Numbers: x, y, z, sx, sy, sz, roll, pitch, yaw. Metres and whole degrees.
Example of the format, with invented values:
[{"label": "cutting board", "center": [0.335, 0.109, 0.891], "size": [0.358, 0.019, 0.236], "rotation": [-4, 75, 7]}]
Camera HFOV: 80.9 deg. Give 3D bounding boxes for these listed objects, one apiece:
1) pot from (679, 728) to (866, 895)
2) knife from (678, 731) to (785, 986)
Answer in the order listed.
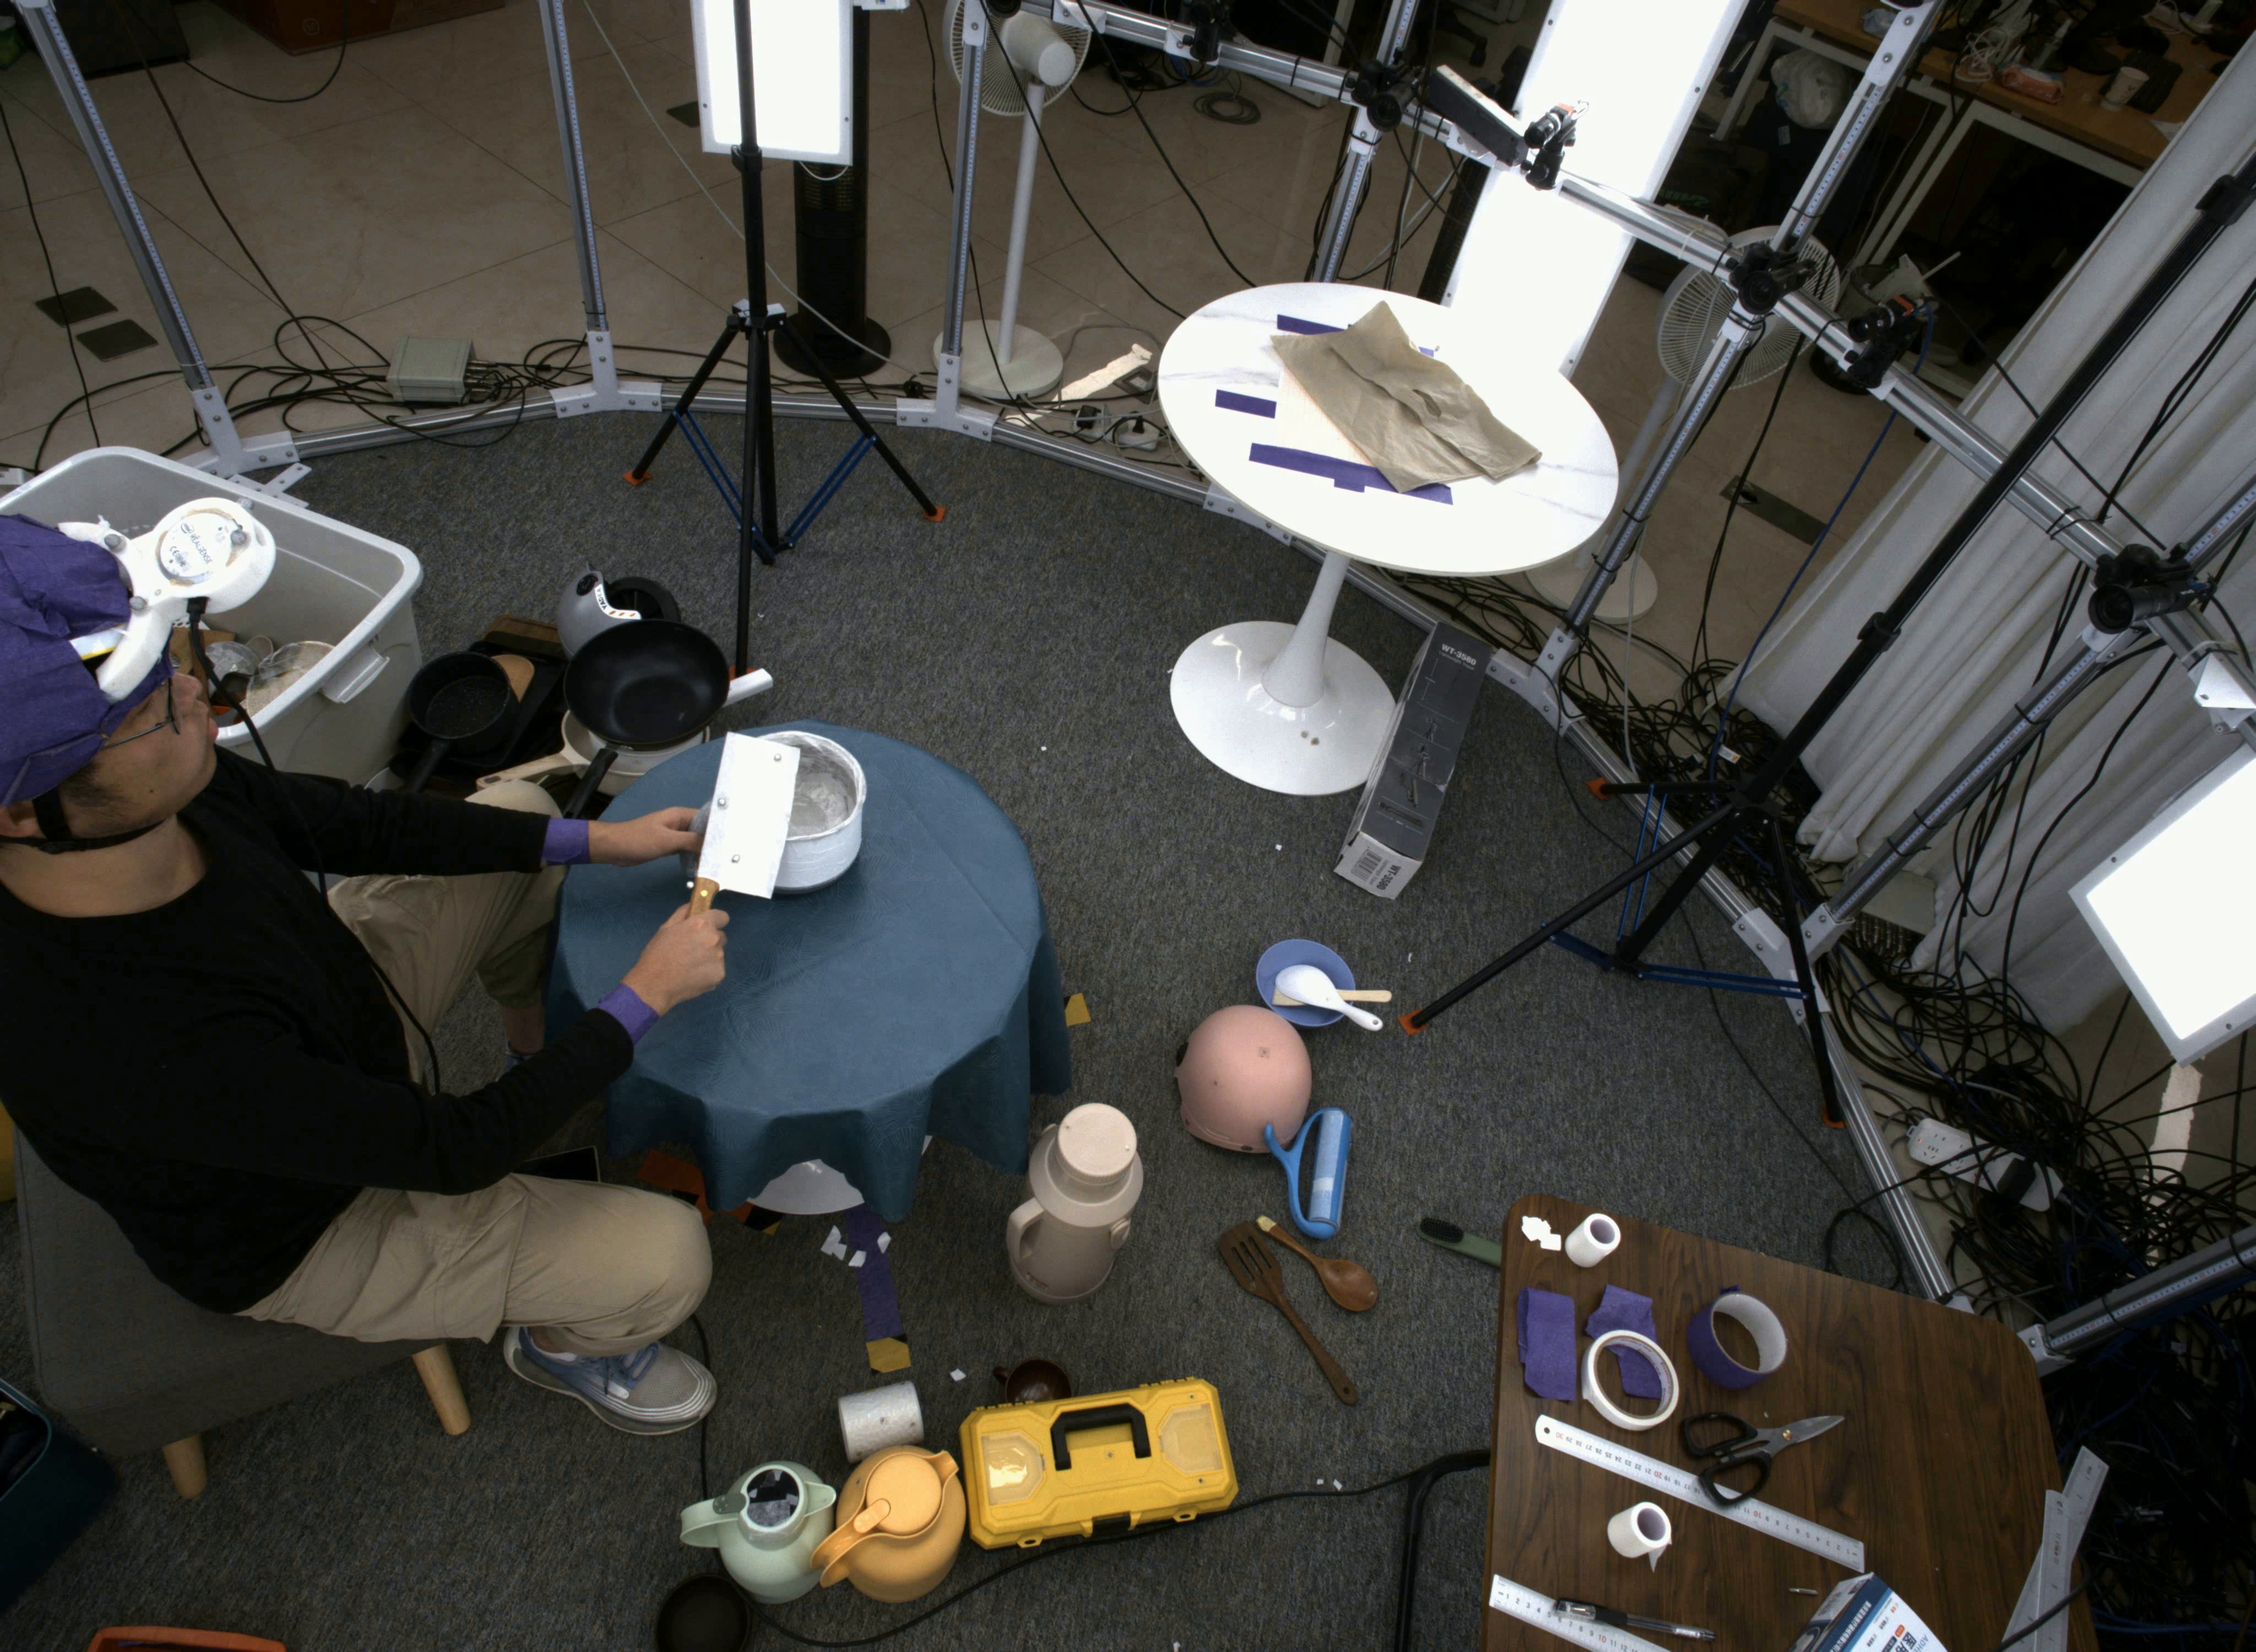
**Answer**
[{"label": "pot", "center": [-0.448, -0.007, 1.624], "size": [0.235, 0.139, 0.174], "rotation": [-19, 59, -31]}, {"label": "knife", "center": [-0.459, 0.037, 1.511], "size": [0.094, 0.021, 0.305], "rotation": [13, 74, -21]}]
